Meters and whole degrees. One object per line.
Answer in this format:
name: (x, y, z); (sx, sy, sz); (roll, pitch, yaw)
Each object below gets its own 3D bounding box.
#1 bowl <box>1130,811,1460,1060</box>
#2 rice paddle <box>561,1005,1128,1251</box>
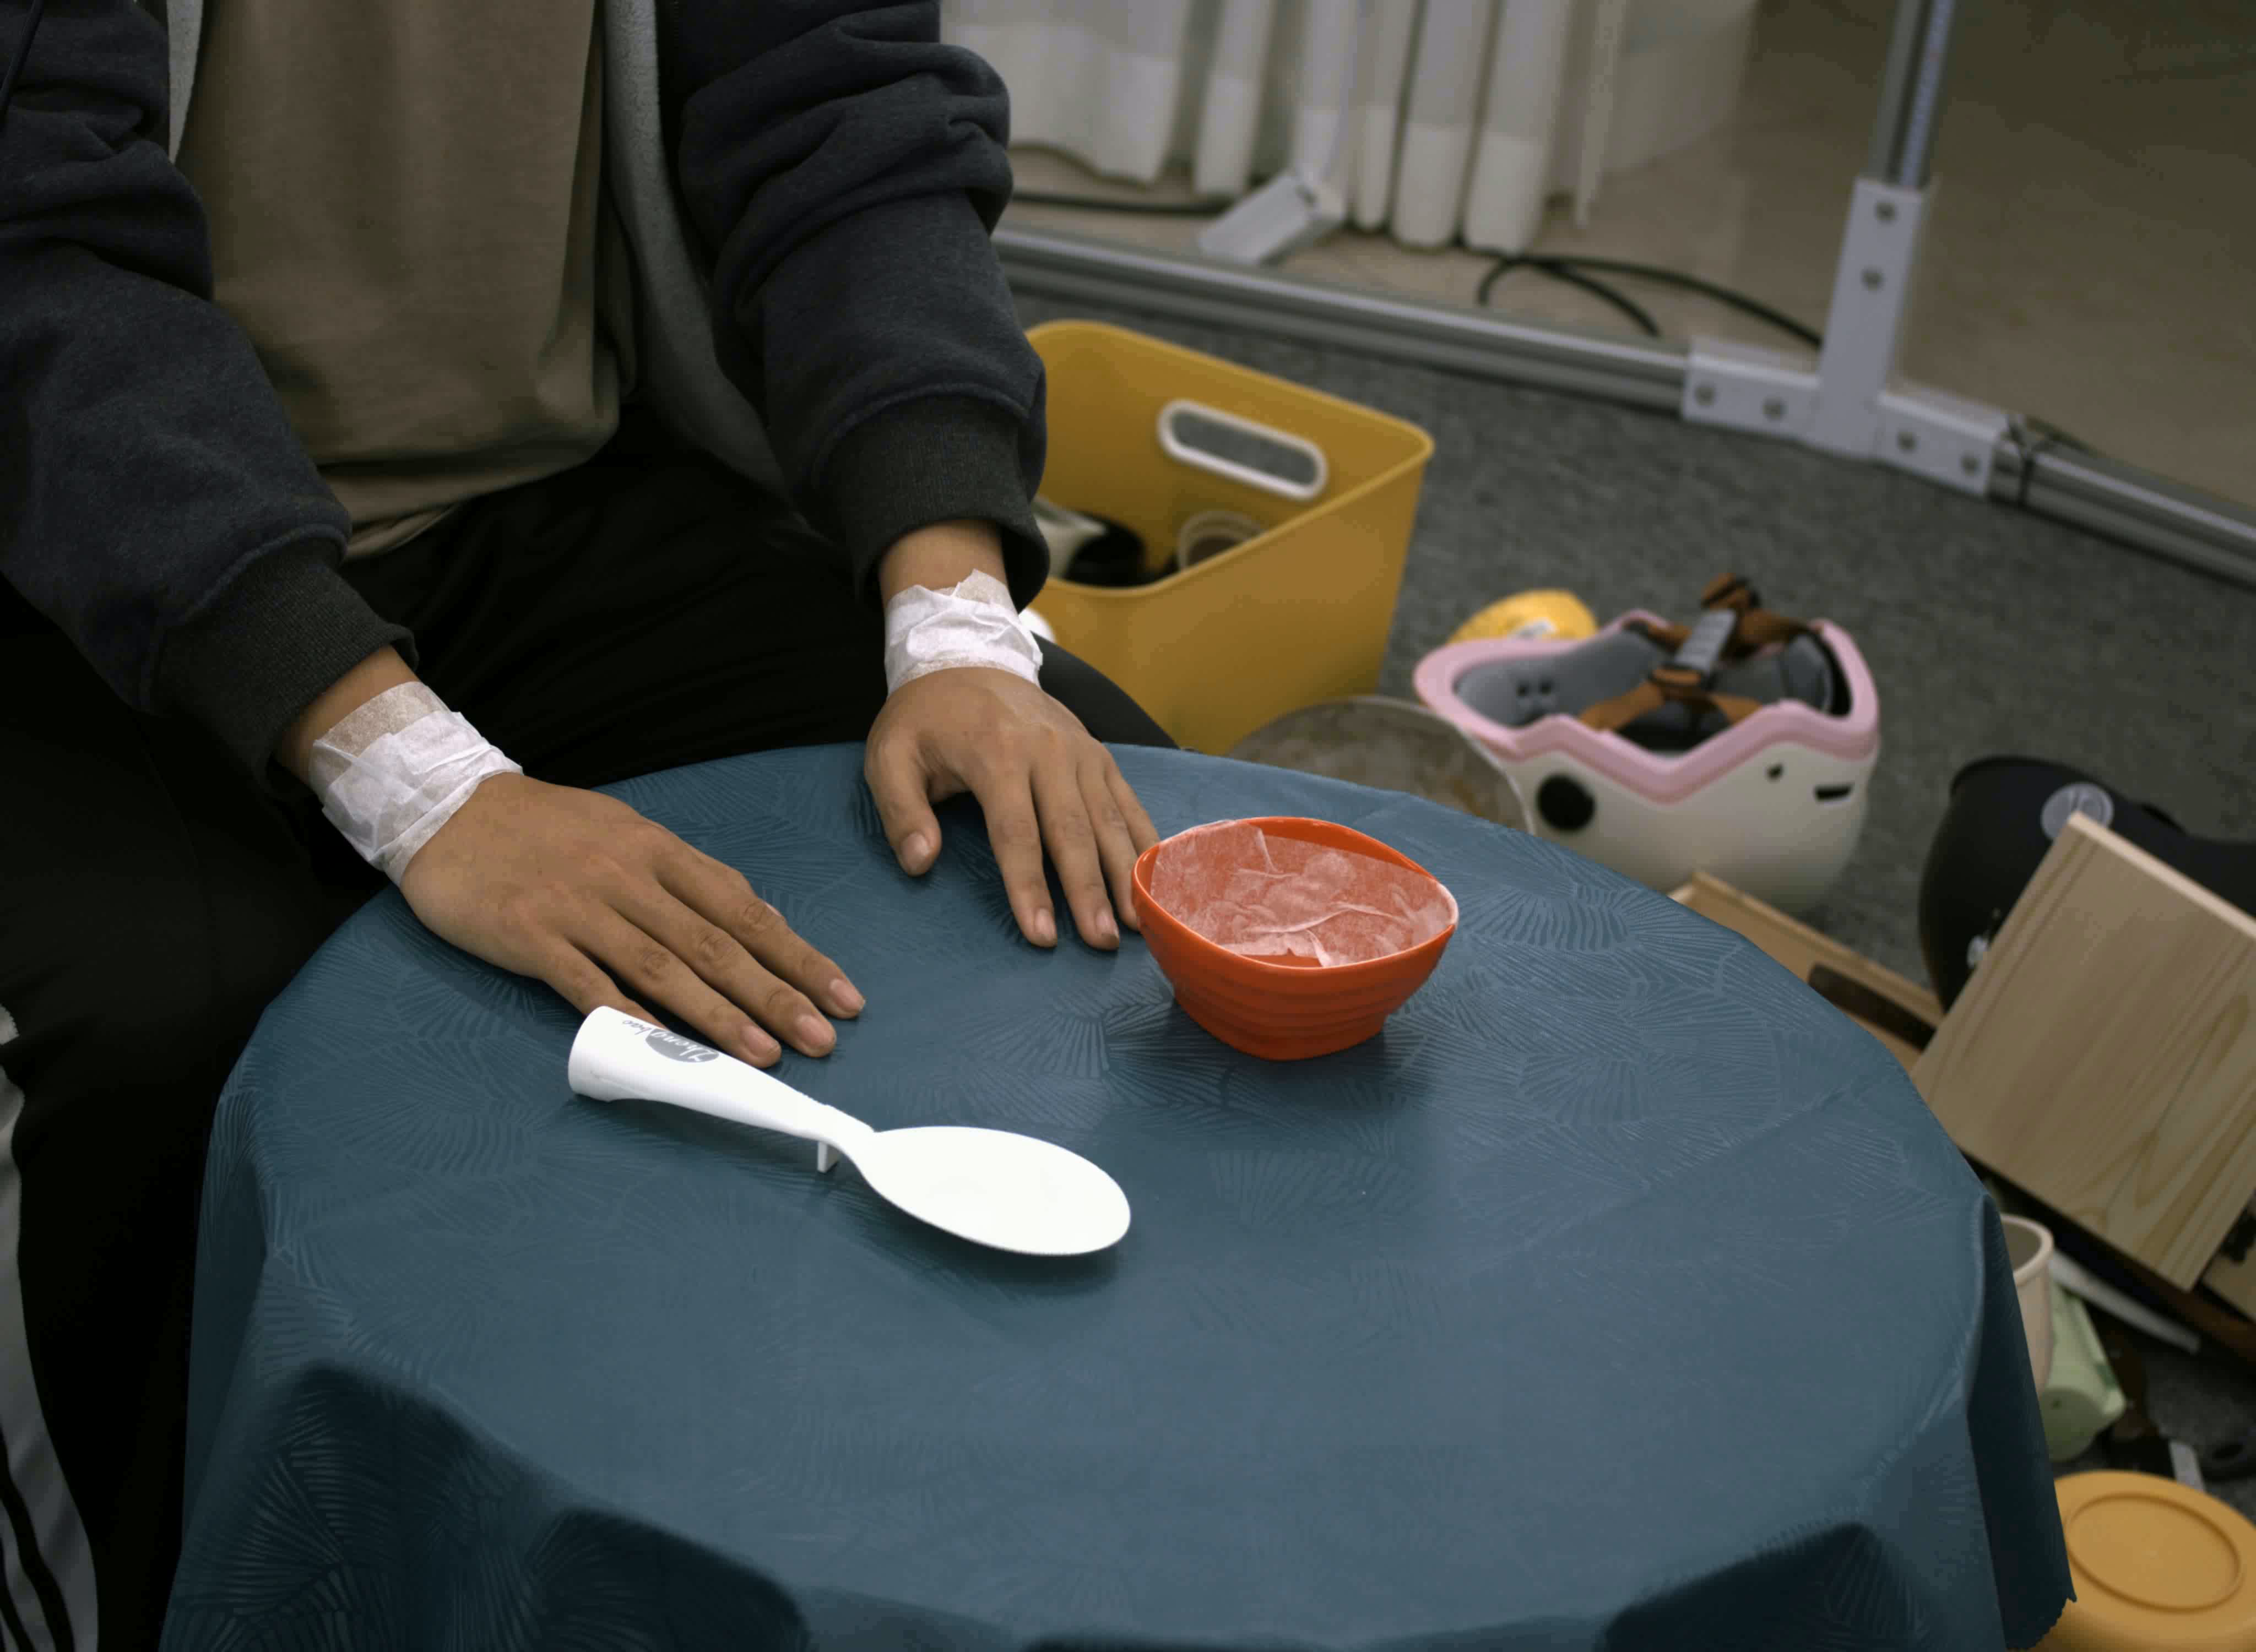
bowl: (0.057, 0.043, 1.913); (0.118, 0.051, 0.119); (6, 28, -3)
rice paddle: (-0.094, 0.103, 1.788); (0.206, 0.029, 0.069); (17, 30, 19)
